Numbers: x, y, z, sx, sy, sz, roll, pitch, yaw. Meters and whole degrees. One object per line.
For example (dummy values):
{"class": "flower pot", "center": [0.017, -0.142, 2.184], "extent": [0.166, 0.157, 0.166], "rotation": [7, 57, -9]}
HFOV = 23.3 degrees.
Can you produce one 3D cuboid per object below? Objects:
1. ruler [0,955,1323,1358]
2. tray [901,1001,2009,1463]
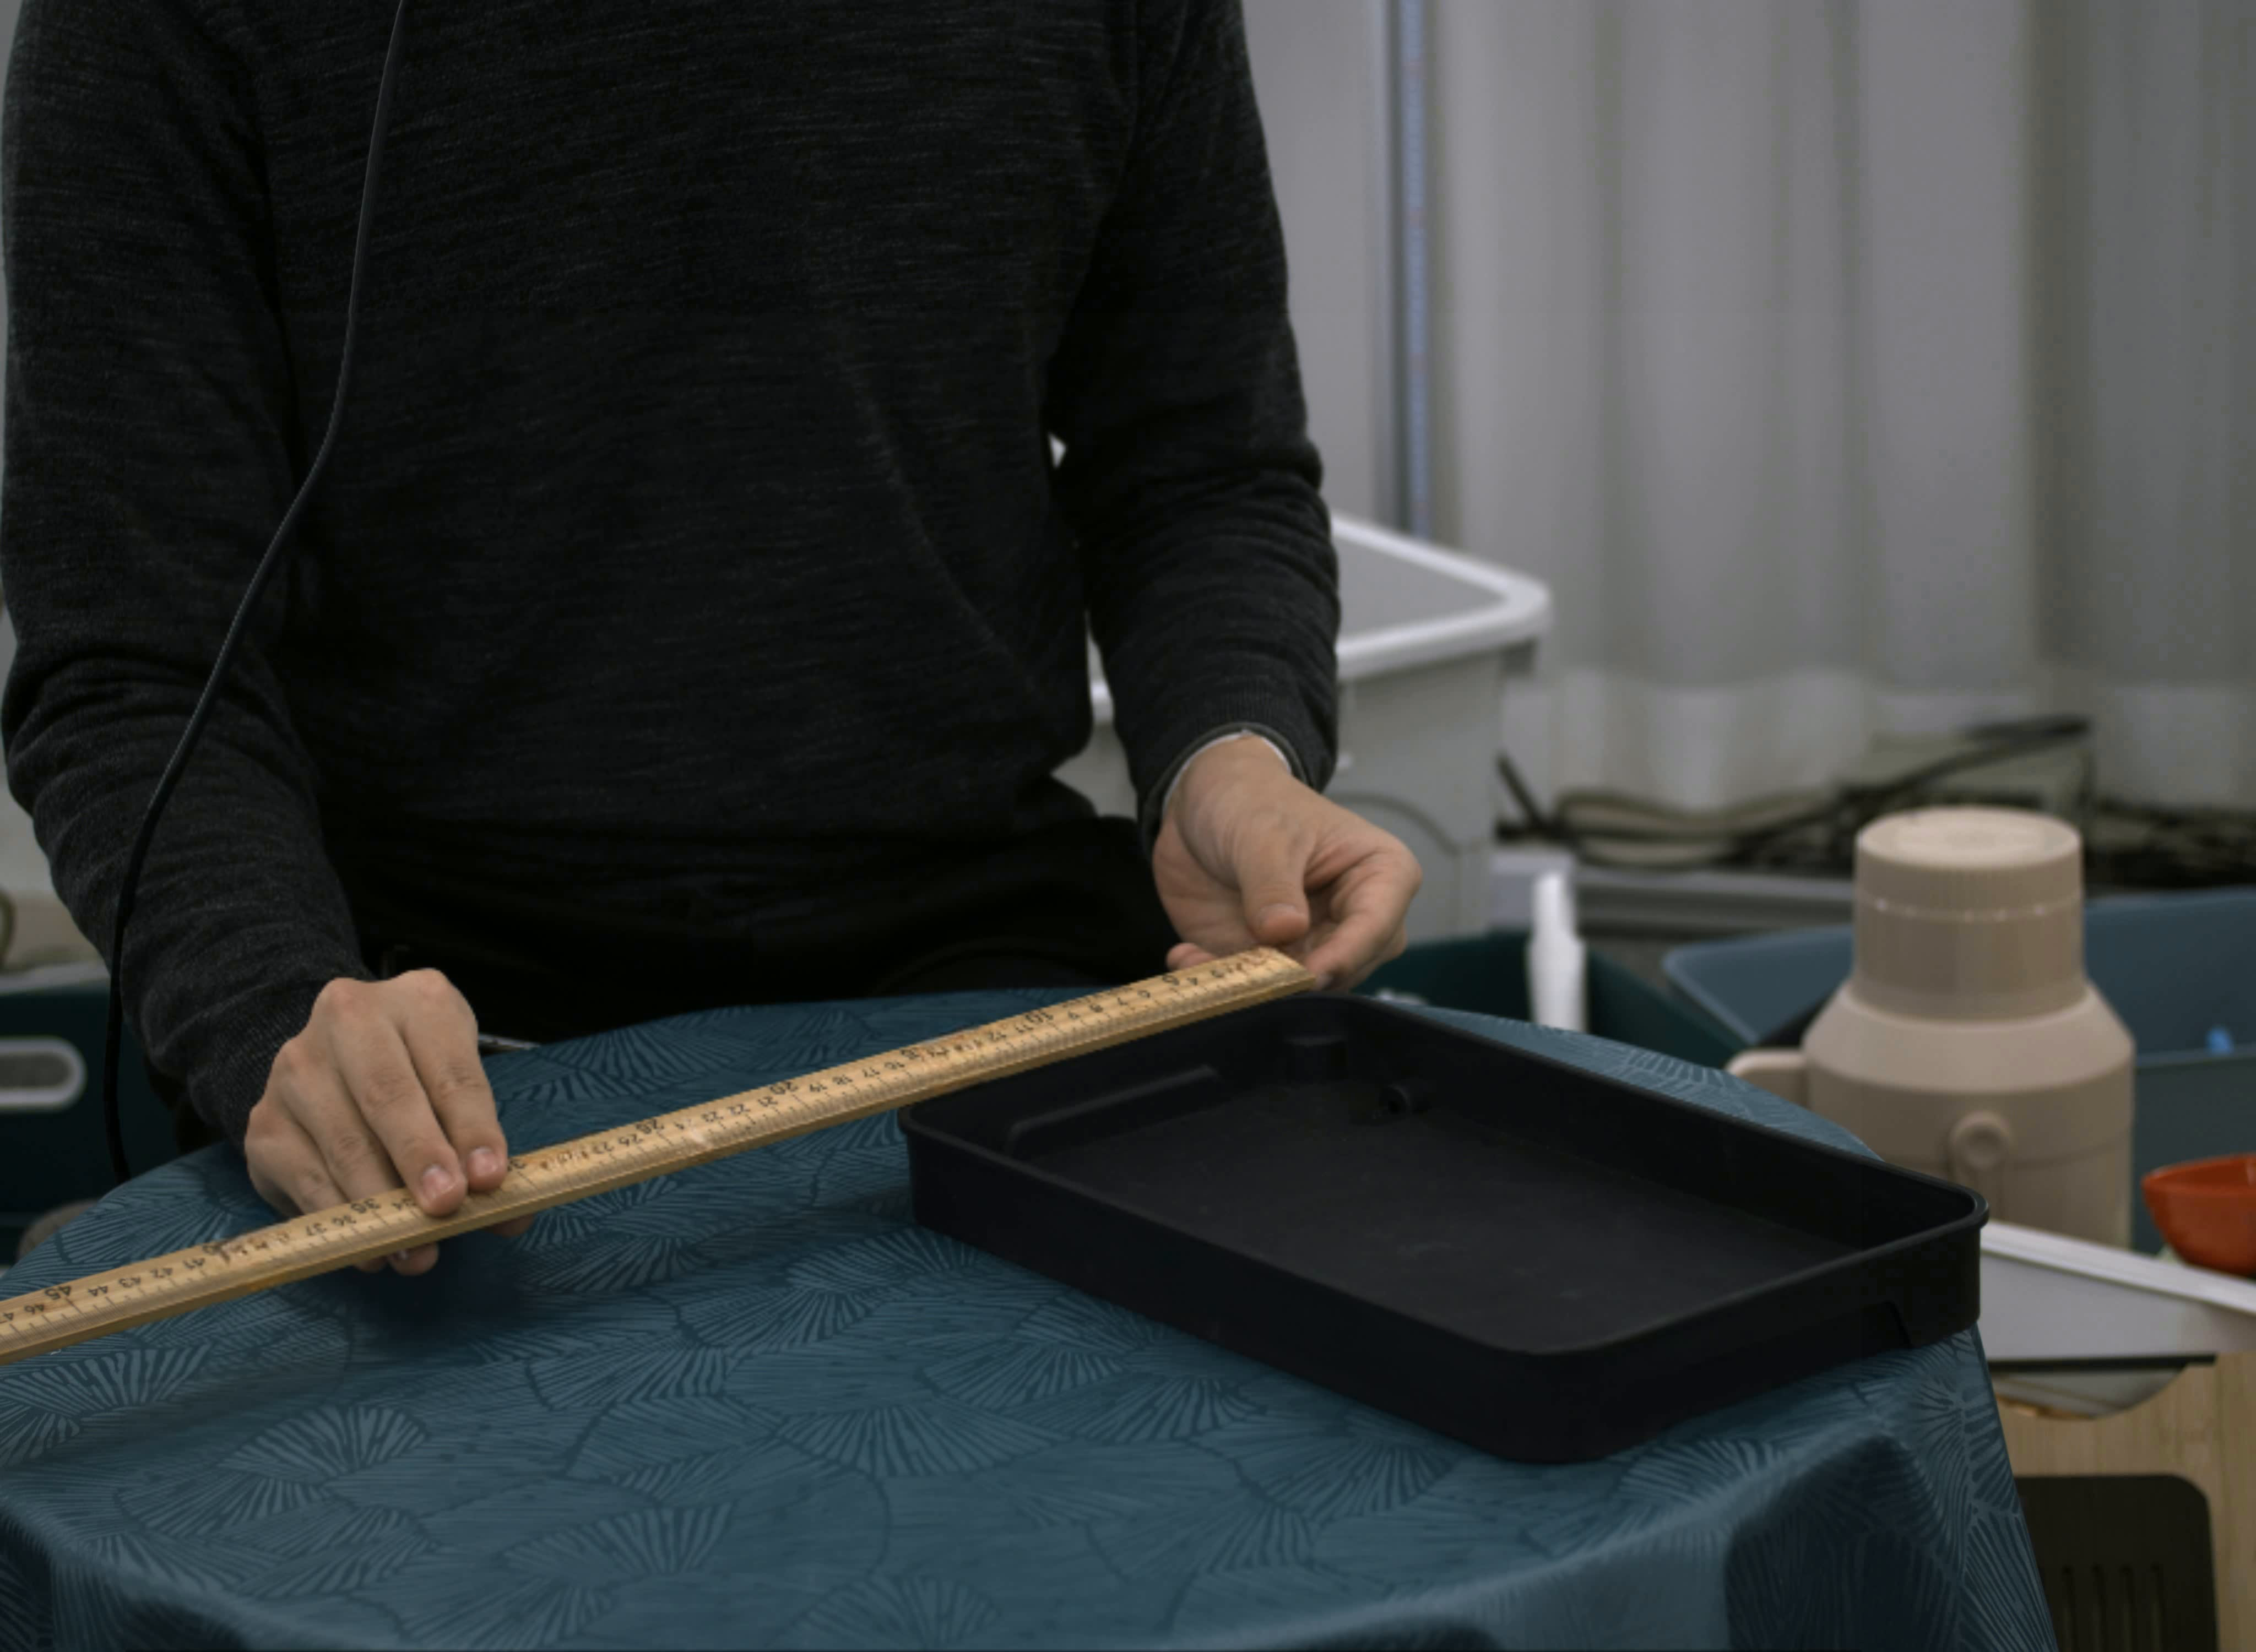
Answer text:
{"class": "ruler", "center": [-0.140, 0.097, 1.659], "extent": [0.499, 0.006, 0.027], "rotation": [-14, 30, -35]}
{"class": "tray", "center": [0.091, 0.115, 1.627], "extent": [0.184, 0.037, 0.320], "rotation": [-14, 18, -37]}
